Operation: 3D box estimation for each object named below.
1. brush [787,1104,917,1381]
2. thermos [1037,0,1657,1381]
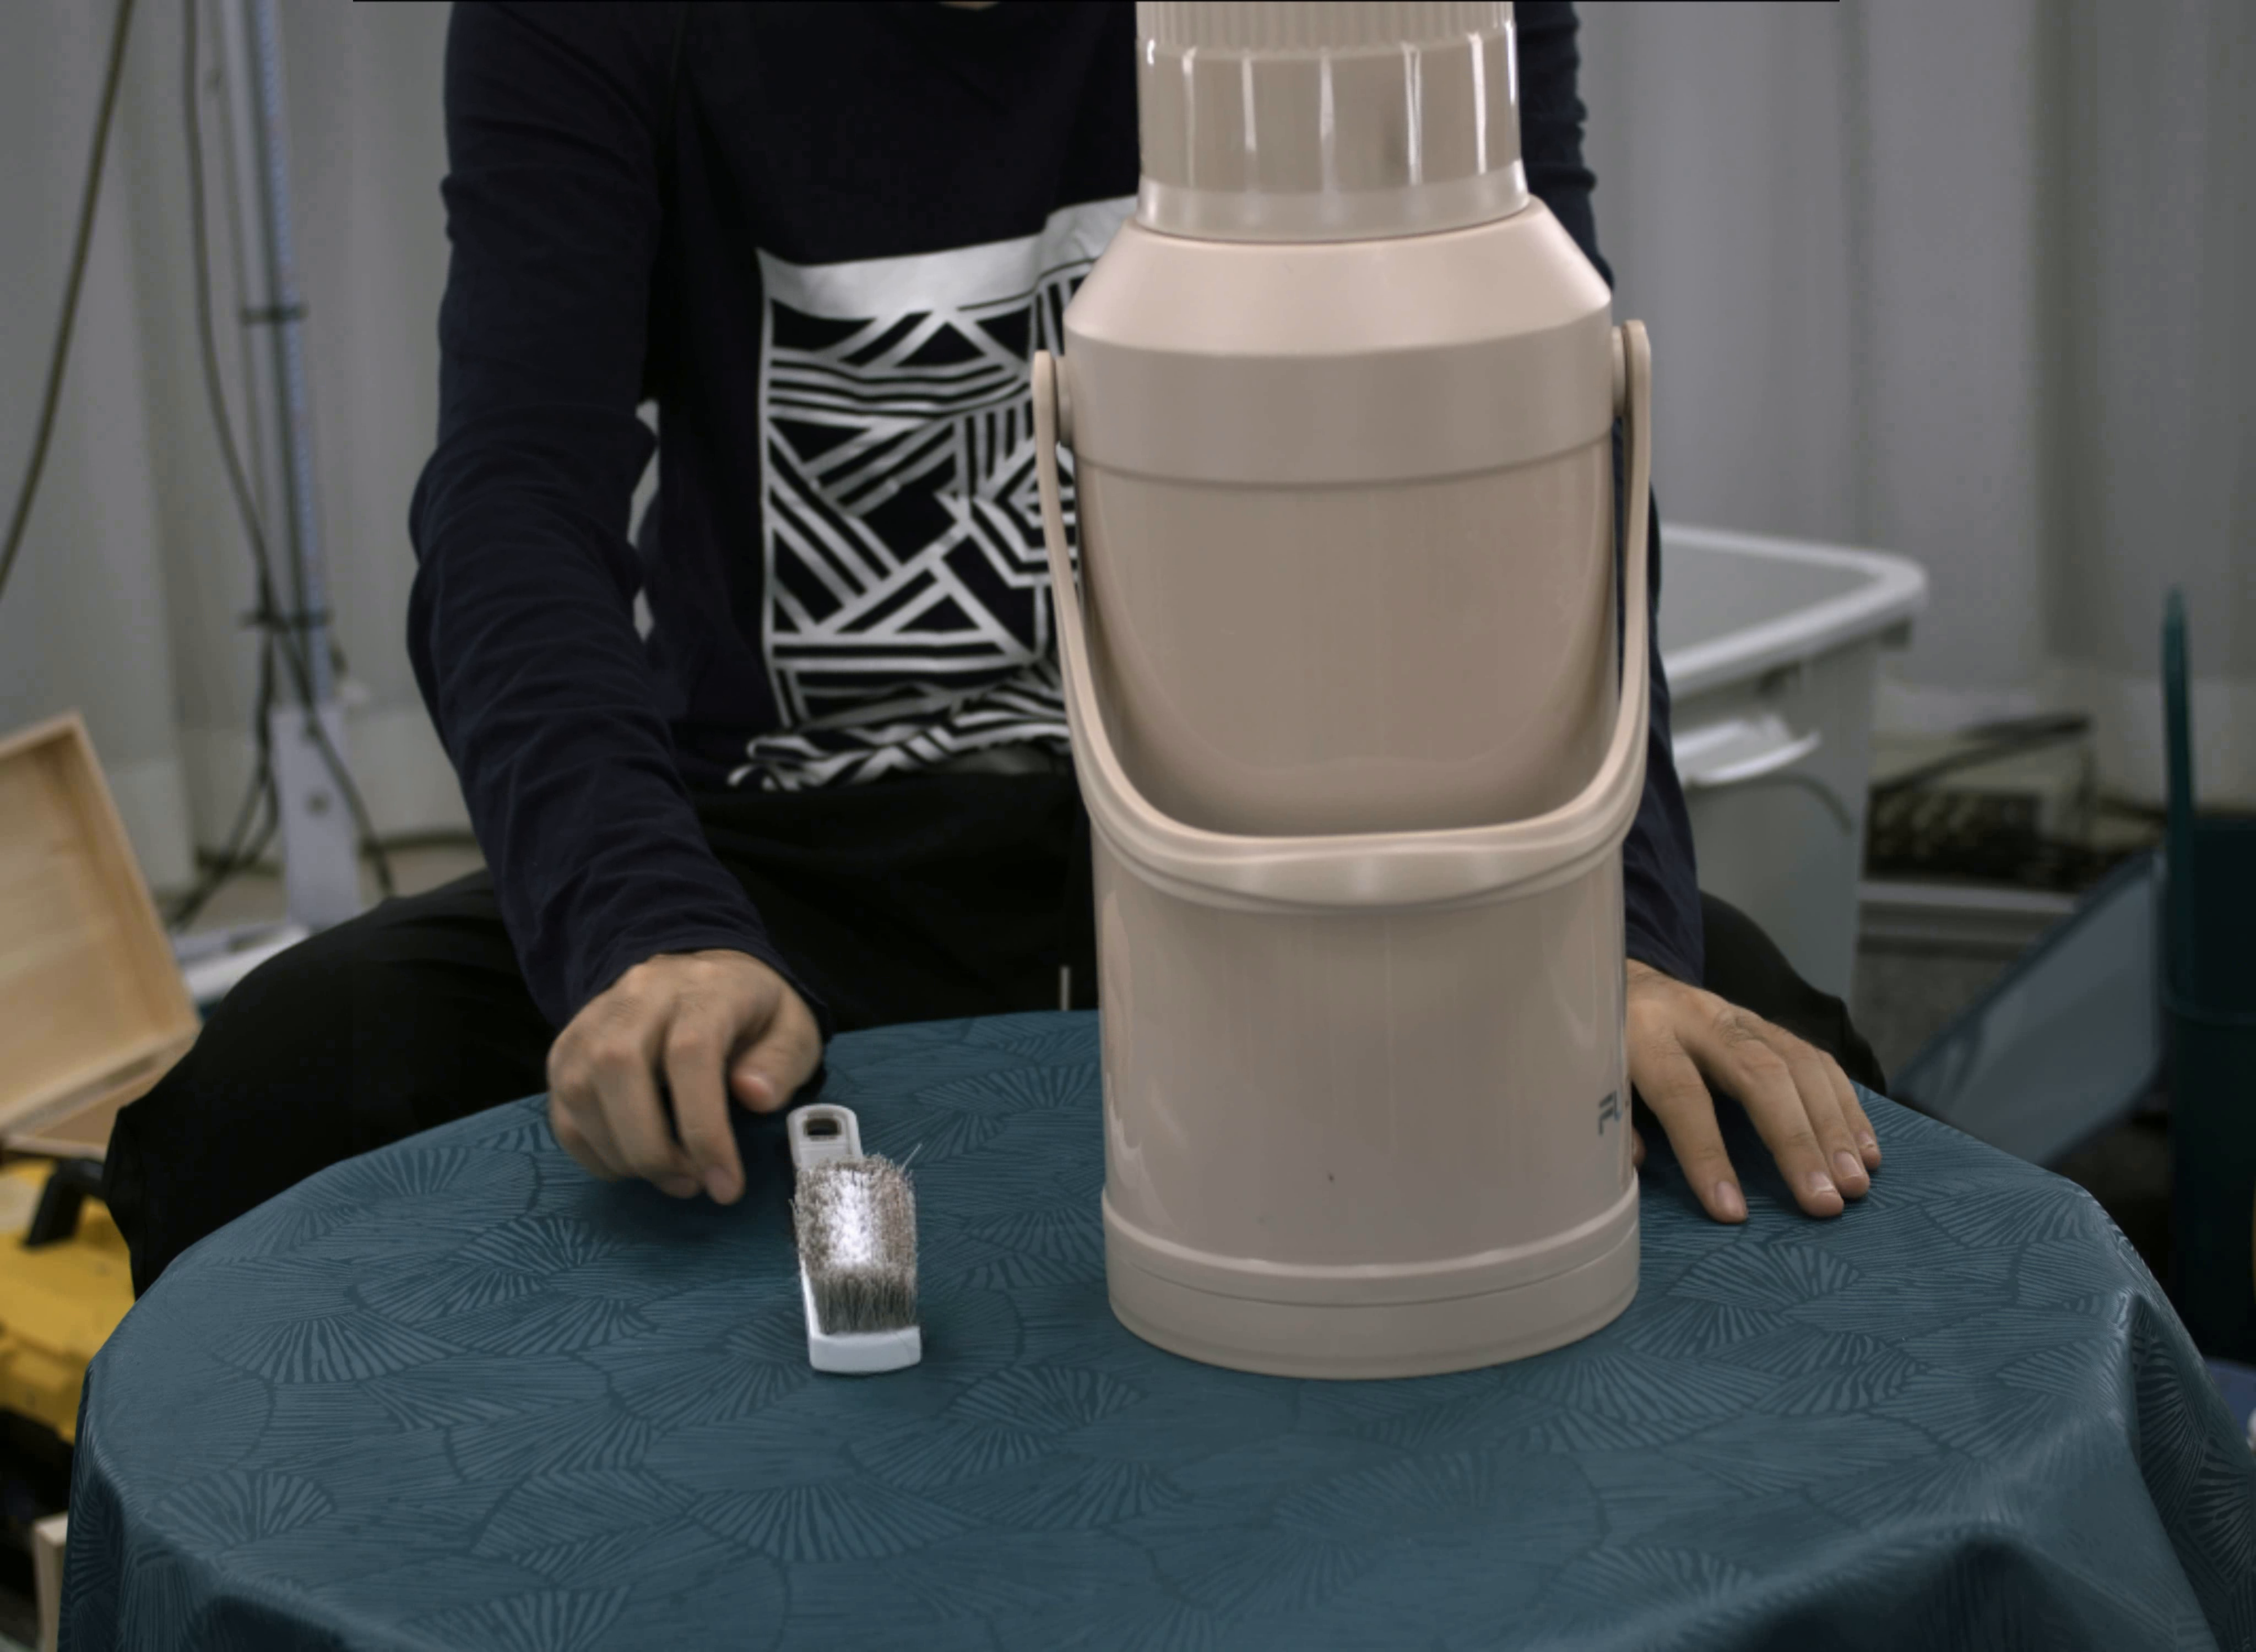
[{"bbox_3d":[-0.085,0.107,1.668,0.034,0.050,0.245,-7,15,-1],"label":"brush"},{"bbox_3d":[0.066,-0.058,1.586,0.175,0.405,0.208,-5,14,-2],"label":"thermos"}]
